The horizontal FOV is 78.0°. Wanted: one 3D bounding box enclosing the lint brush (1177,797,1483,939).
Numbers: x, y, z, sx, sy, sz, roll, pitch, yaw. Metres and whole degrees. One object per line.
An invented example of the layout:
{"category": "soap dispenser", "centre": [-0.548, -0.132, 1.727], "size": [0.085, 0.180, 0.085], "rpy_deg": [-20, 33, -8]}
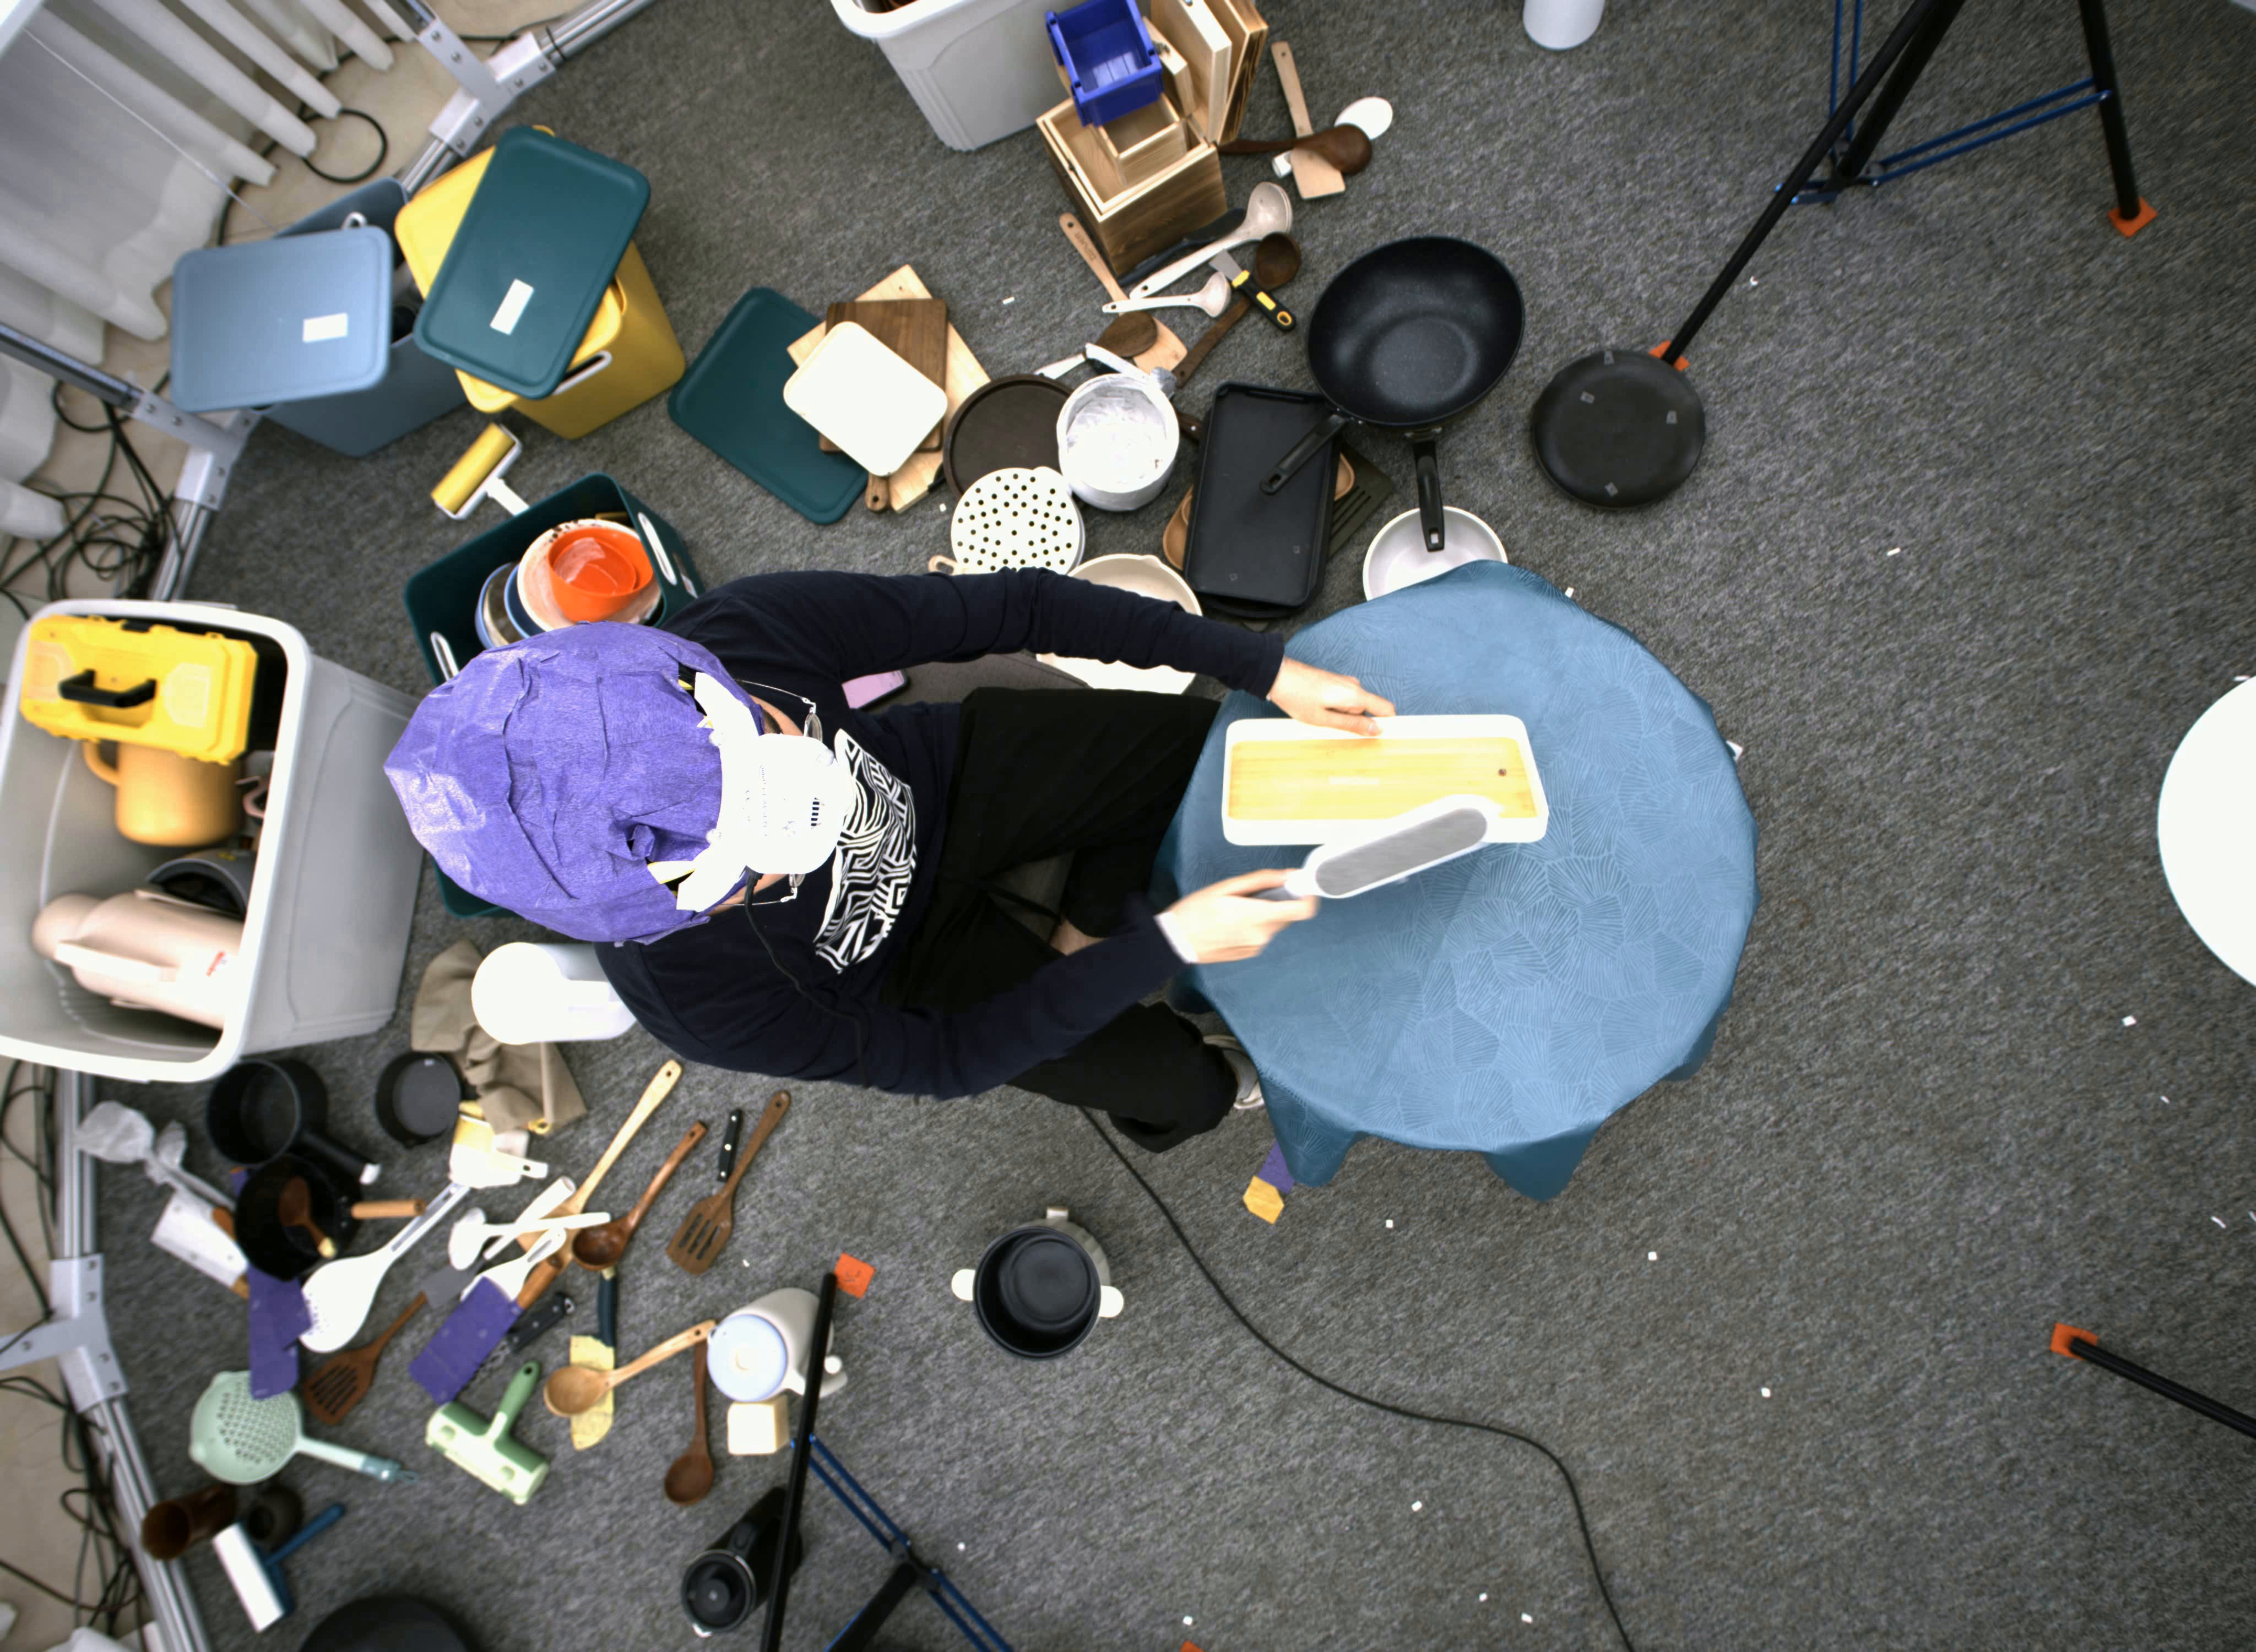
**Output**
{"category": "lint brush", "centre": [0.182, 0.043, 1.284], "size": [0.313, 0.020, 0.061], "rpy_deg": [-23, 127, 22]}

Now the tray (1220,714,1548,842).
{"category": "tray", "centre": [0.243, -0.050, 1.337], "size": [0.301, 0.186, 0.028], "rpy_deg": [-1, 125, 9]}
